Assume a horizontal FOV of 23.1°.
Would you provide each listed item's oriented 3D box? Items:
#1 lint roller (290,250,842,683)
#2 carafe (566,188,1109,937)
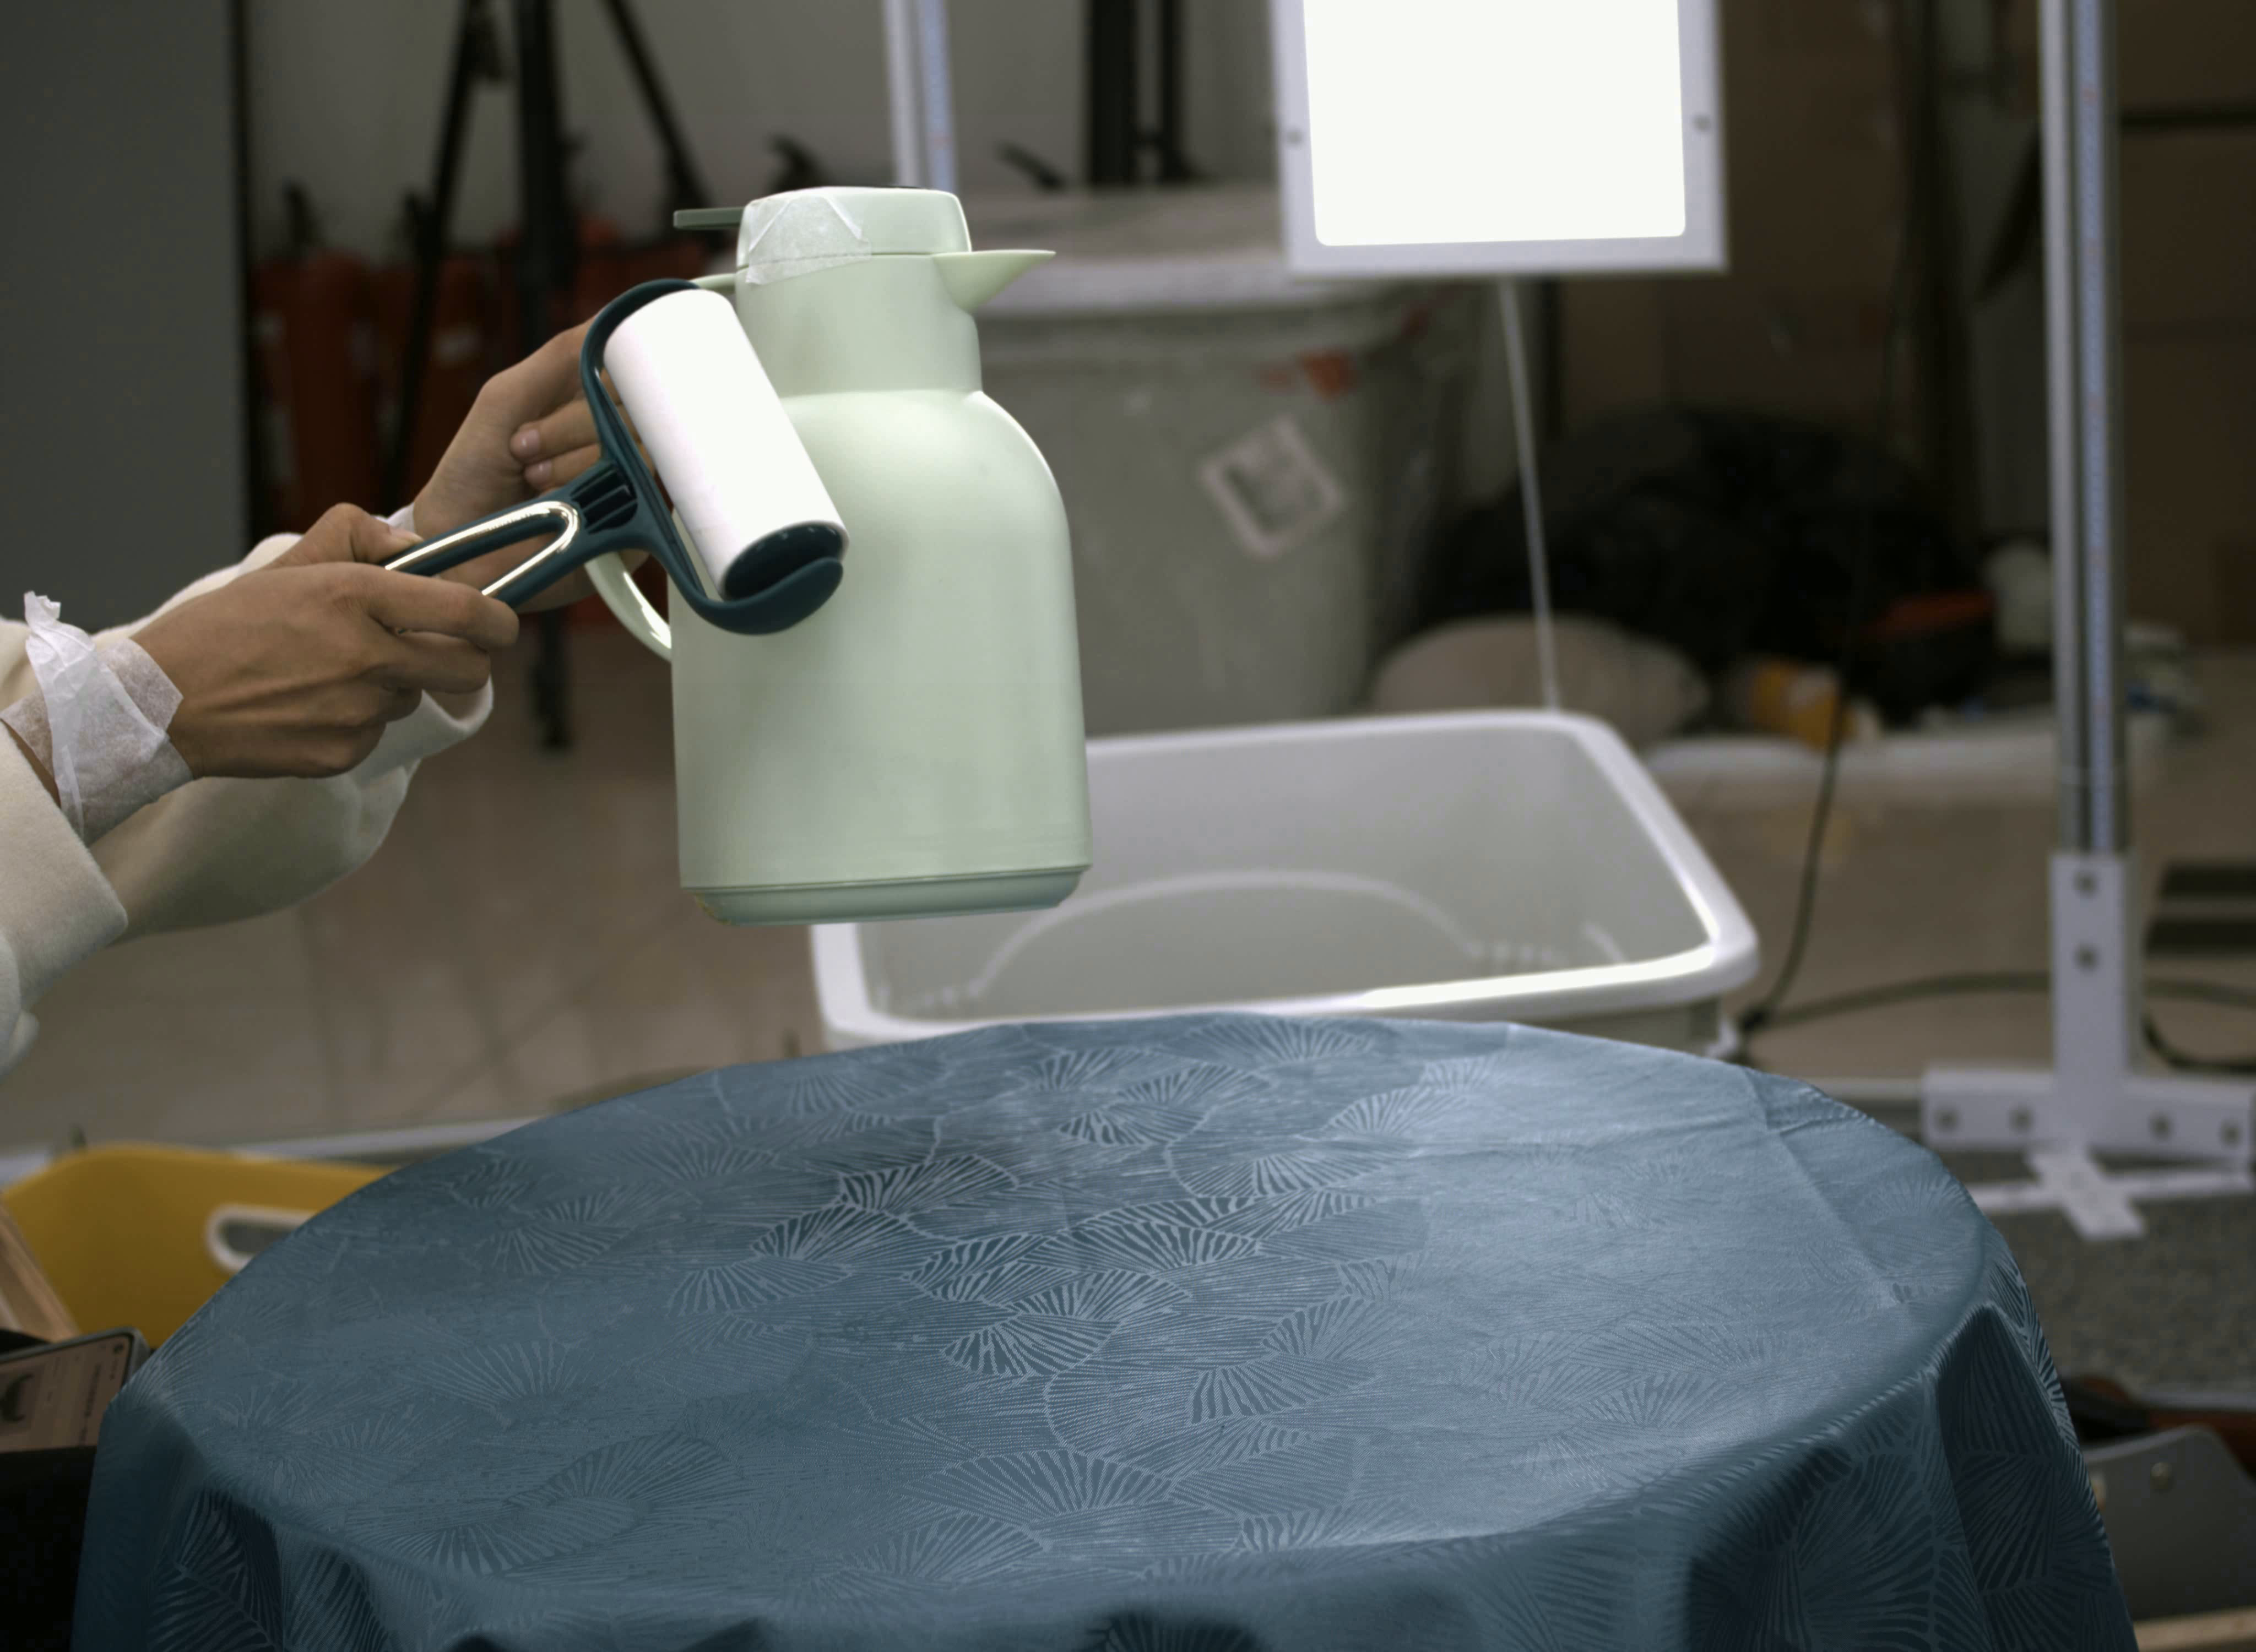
[{"bbox_3d":[-0.195,-0.099,1.807,0.179,0.135,0.048,-24,-28,-6],"label":"lint roller"},{"bbox_3d":[-0.102,-0.091,1.928,0.189,0.257,0.142,-7,1,21],"label":"carafe"}]
